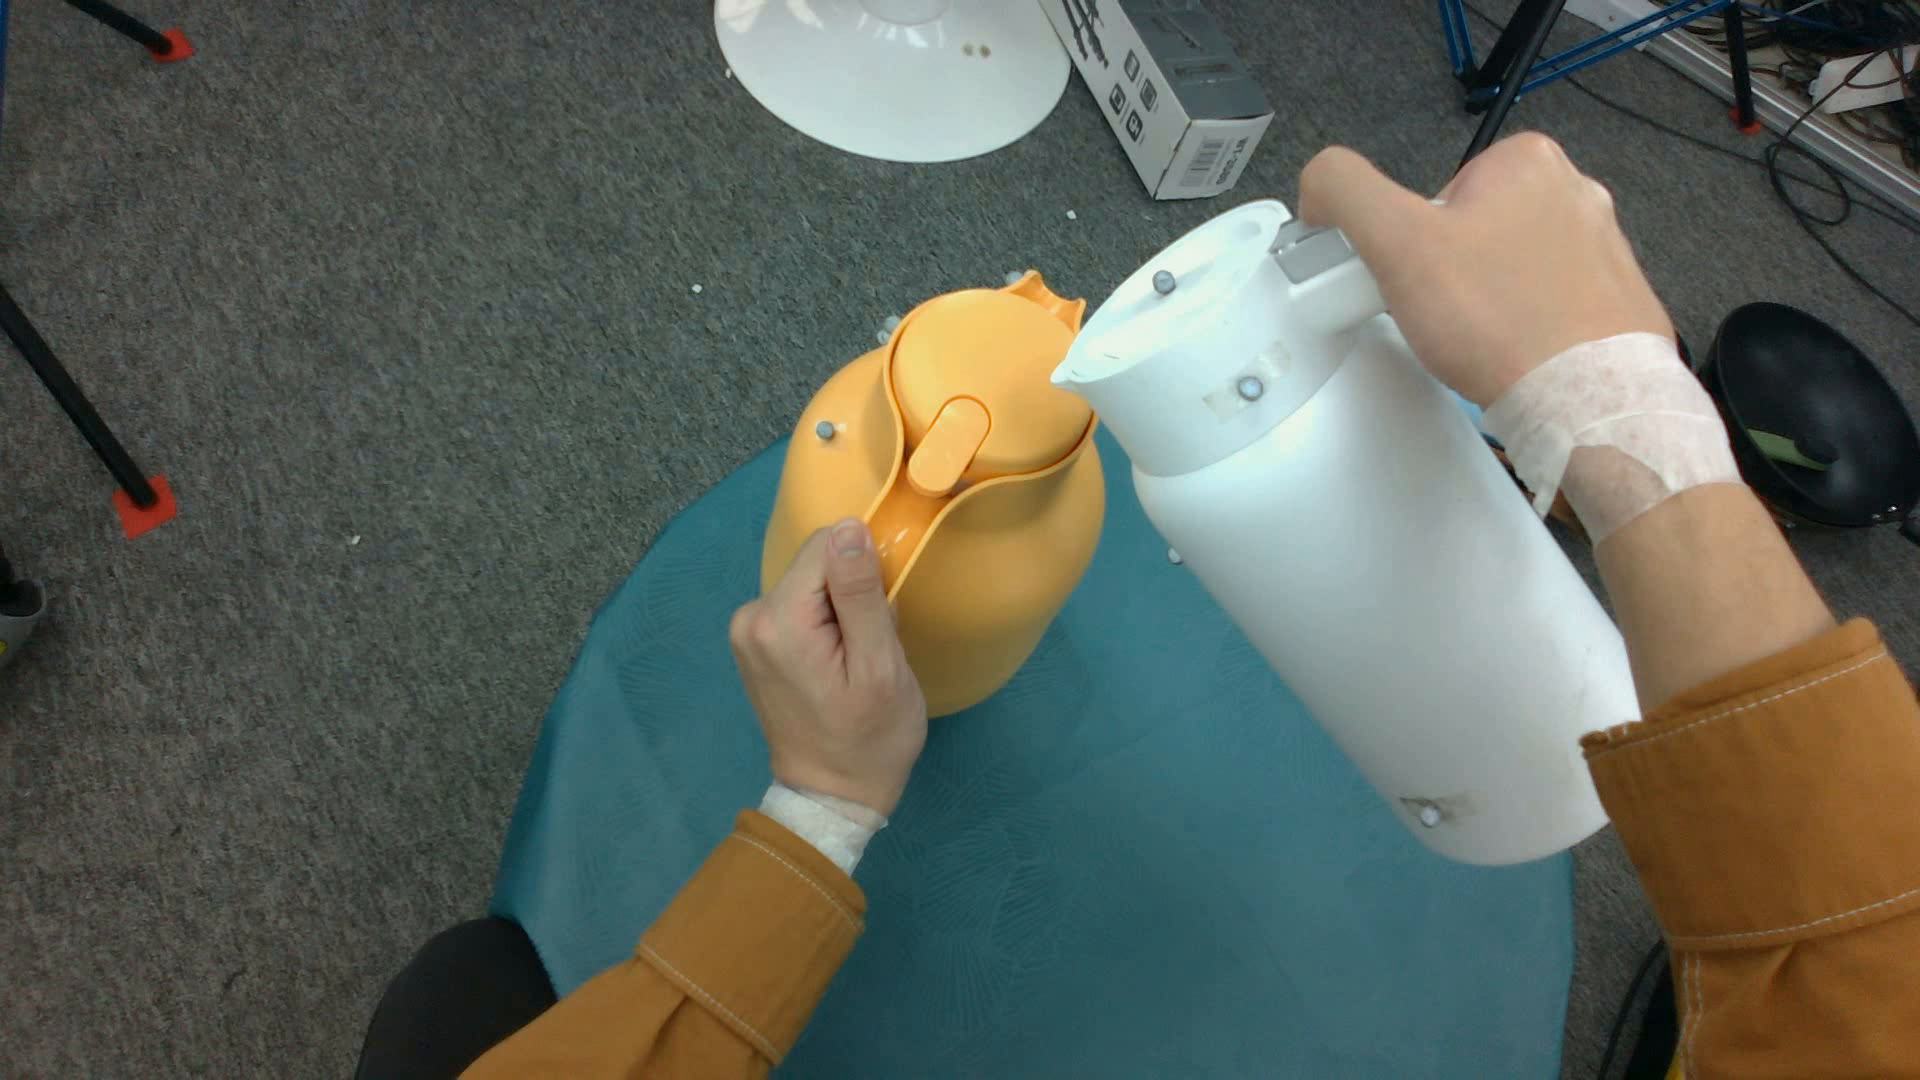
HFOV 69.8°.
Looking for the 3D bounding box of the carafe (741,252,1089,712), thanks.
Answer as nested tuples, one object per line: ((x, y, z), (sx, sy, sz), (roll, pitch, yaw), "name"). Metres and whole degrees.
((-0.030, -0.013, 0.680), (0.163, 0.259, 0.203), (33, 59, 5), "carafe")

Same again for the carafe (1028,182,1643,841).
((0.166, -0.012, 0.535), (0.268, 0.172, 0.124), (50, 47, -18), "carafe")
